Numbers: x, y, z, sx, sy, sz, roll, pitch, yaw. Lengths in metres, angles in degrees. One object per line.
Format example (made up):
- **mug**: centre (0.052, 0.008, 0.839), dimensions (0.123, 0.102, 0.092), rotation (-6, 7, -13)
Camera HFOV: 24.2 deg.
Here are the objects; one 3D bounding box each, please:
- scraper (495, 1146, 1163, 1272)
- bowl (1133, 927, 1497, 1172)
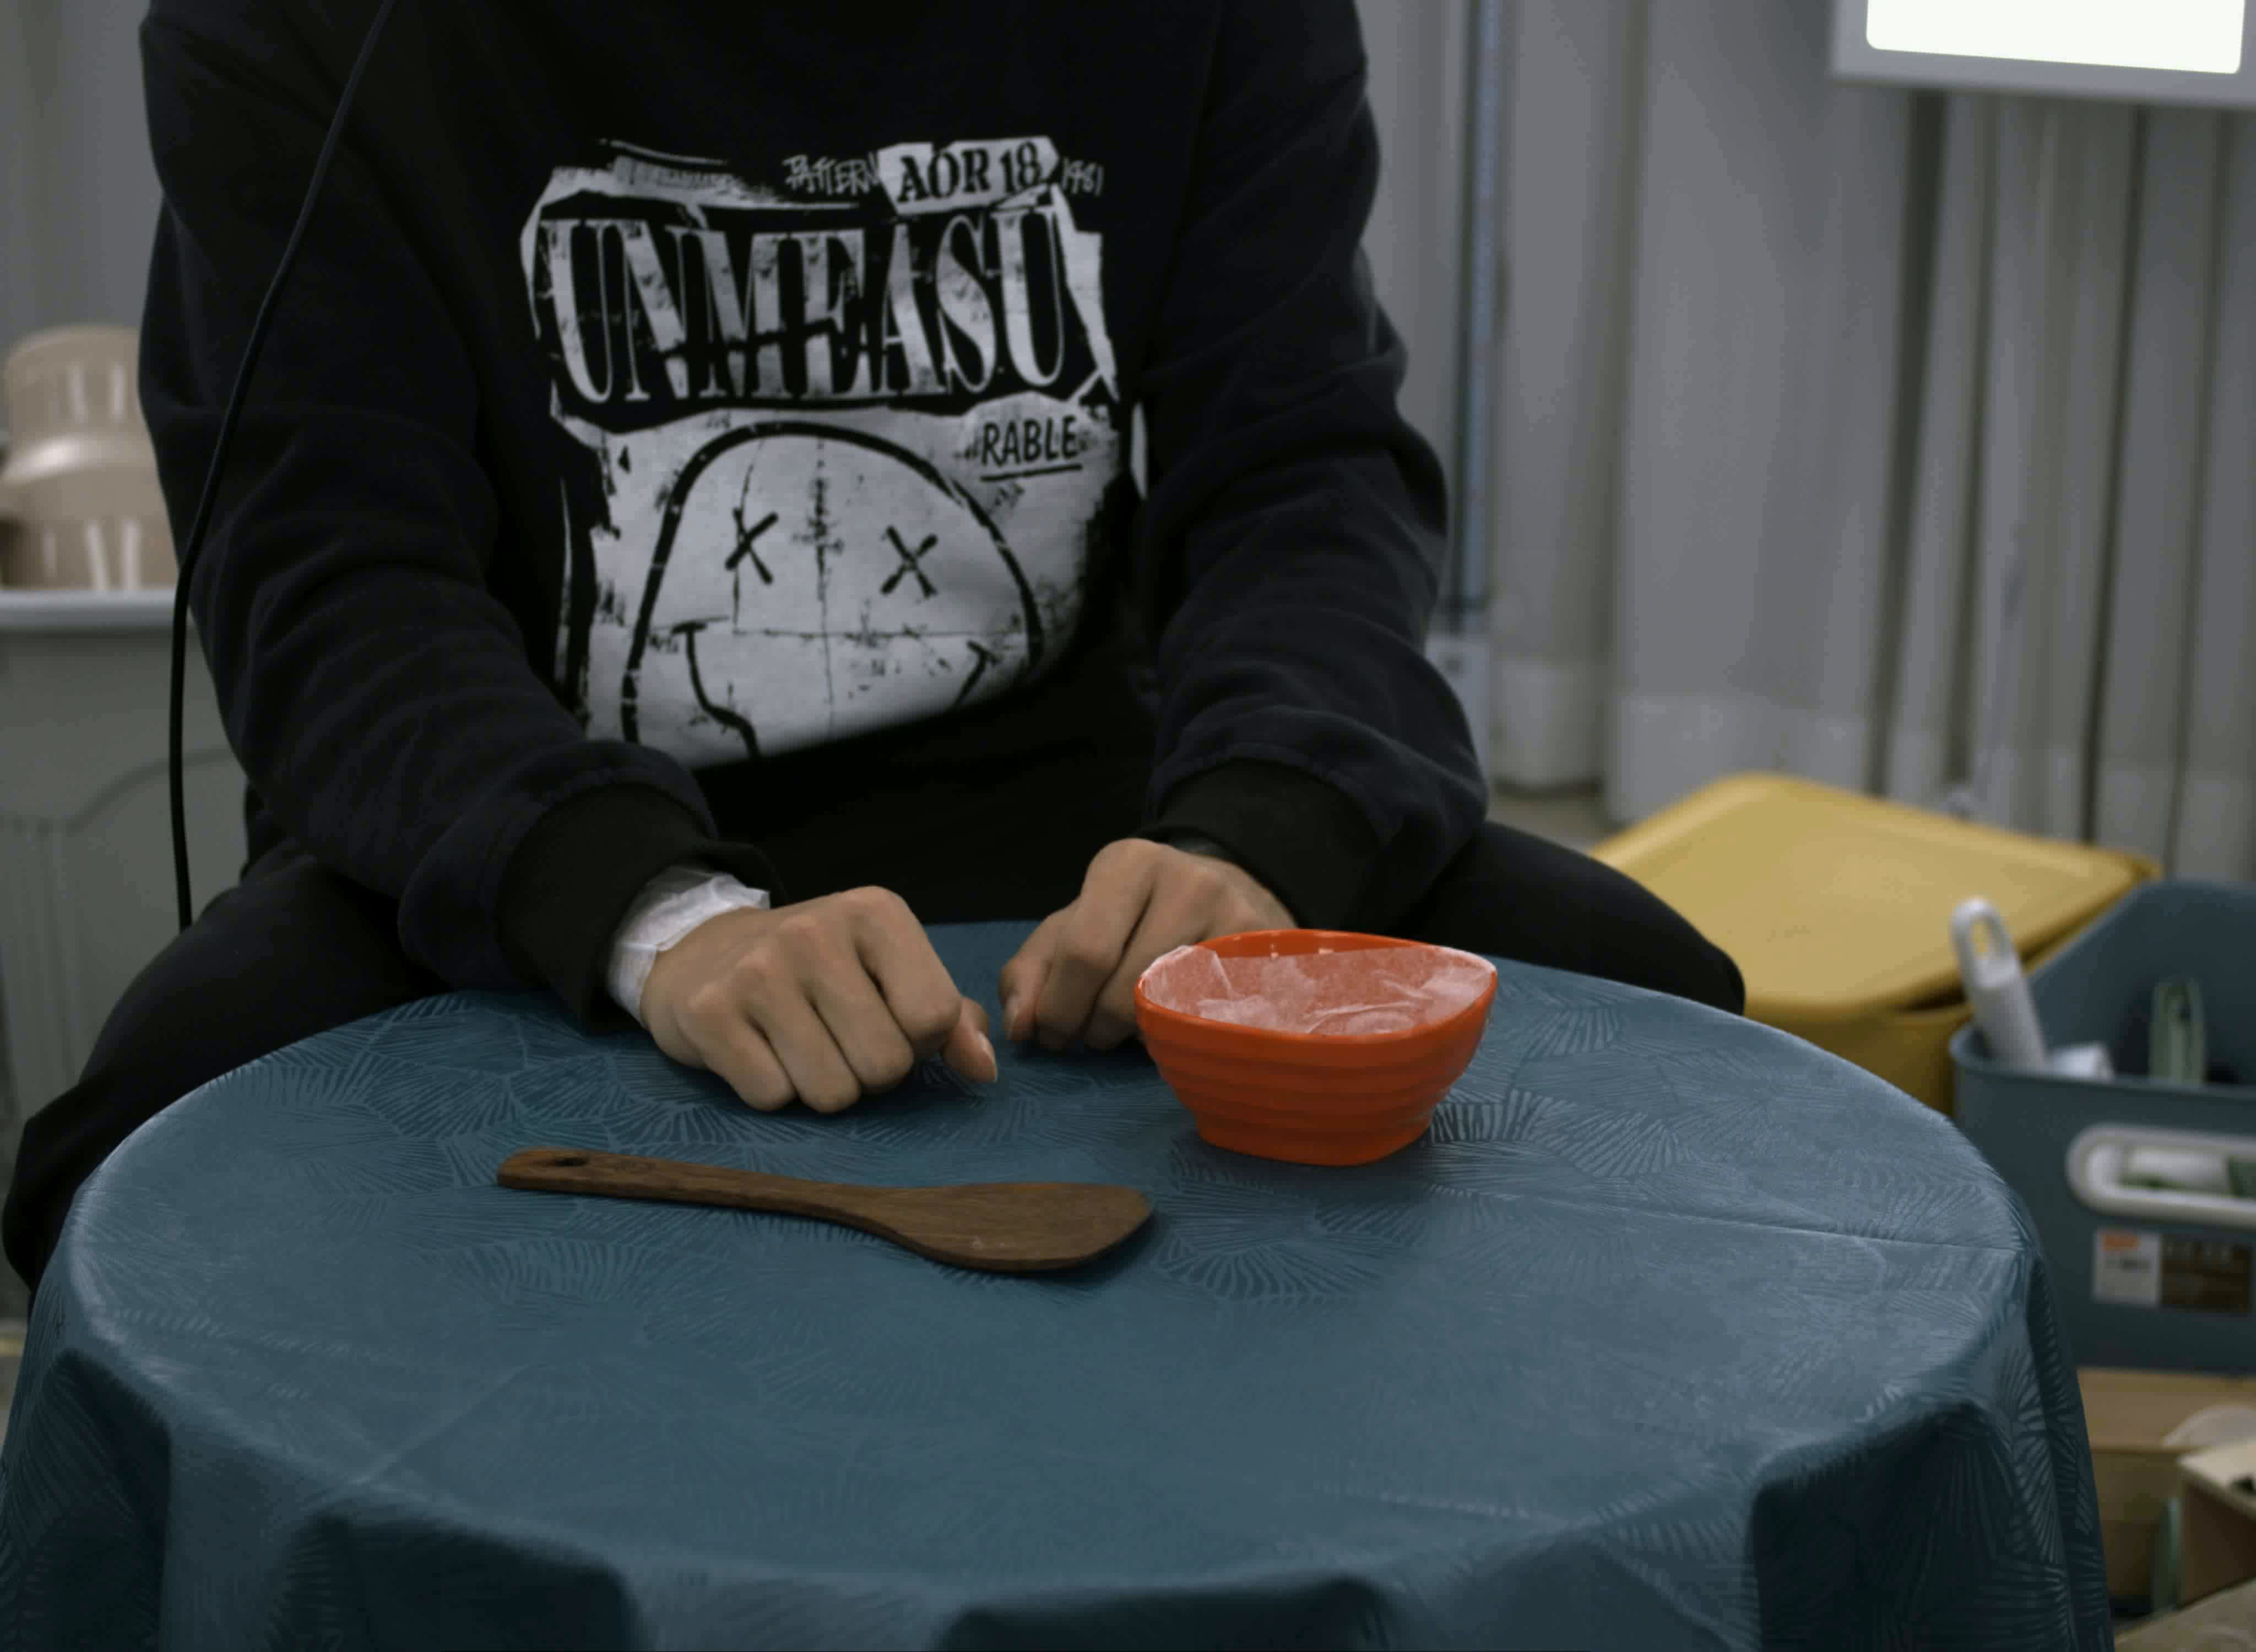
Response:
- **scraper**: centre (-0.094, 0.114, 1.605), dimensions (0.209, 0.011, 0.076), rotation (5, 16, 18)
- **bowl**: centre (0.060, 0.073, 1.678), dimensions (0.118, 0.052, 0.118), rotation (0, 18, 0)
